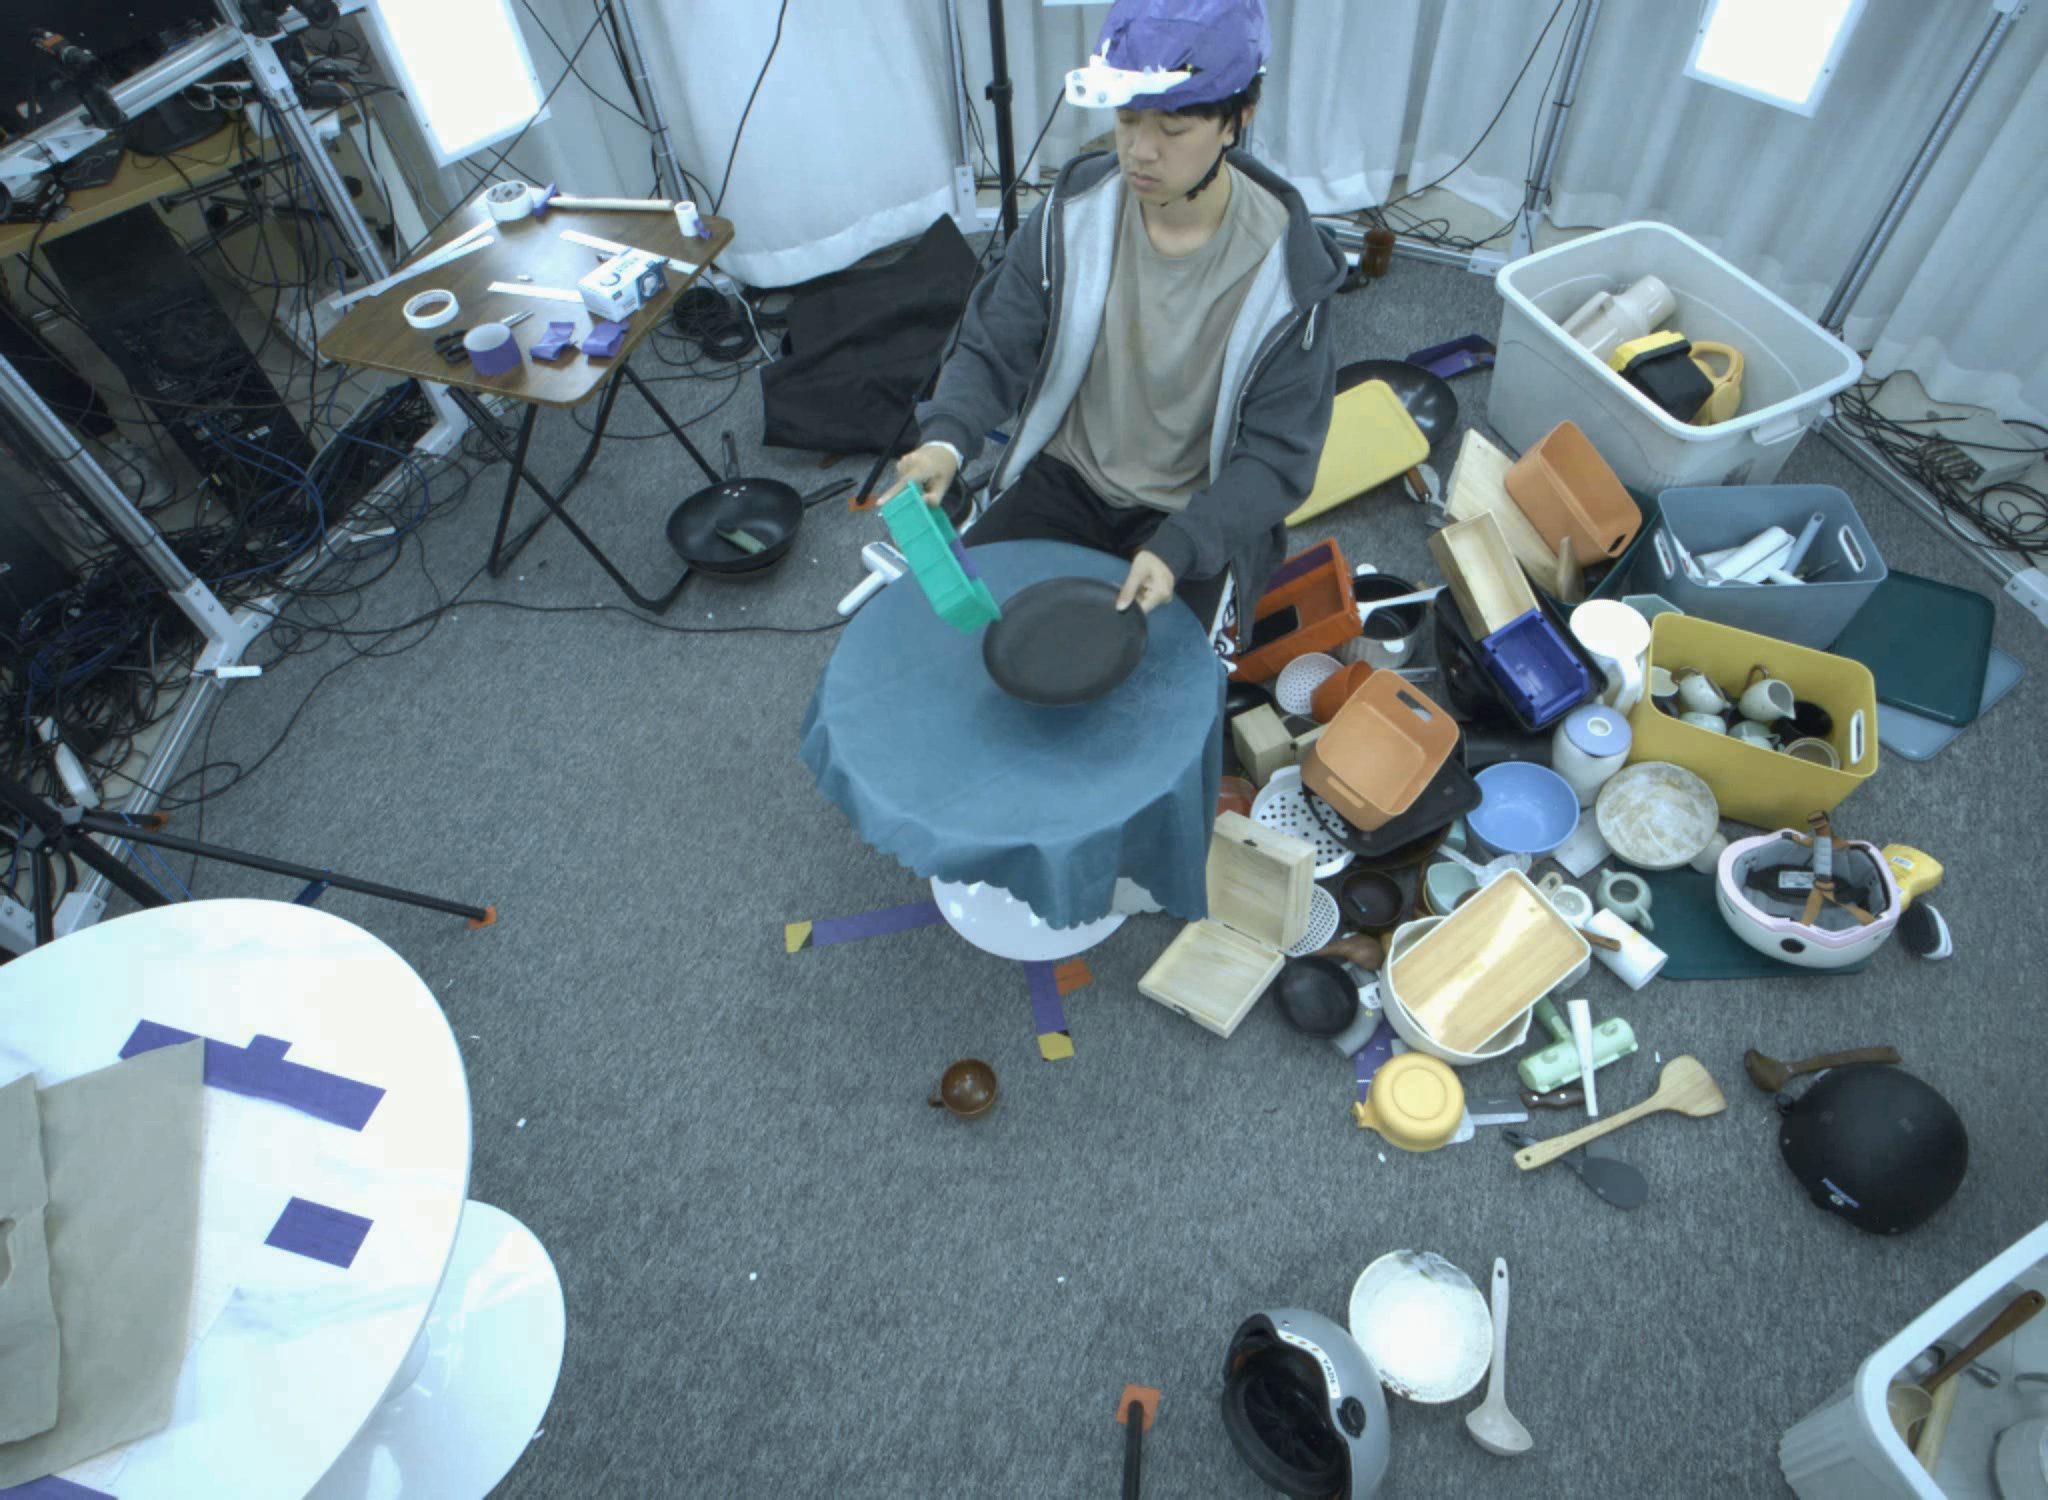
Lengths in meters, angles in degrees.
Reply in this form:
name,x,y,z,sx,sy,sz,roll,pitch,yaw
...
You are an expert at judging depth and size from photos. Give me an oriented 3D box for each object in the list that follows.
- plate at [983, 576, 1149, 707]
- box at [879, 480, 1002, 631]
name,x,y,z,sx,sy,sz,roll,pitch,yaw
plate,0.061,-0.155,1.784,0.243,0.024,0.242,-4,56,7
box,-0.120,-0.267,1.710,0.065,0.140,0.209,-32,78,7
